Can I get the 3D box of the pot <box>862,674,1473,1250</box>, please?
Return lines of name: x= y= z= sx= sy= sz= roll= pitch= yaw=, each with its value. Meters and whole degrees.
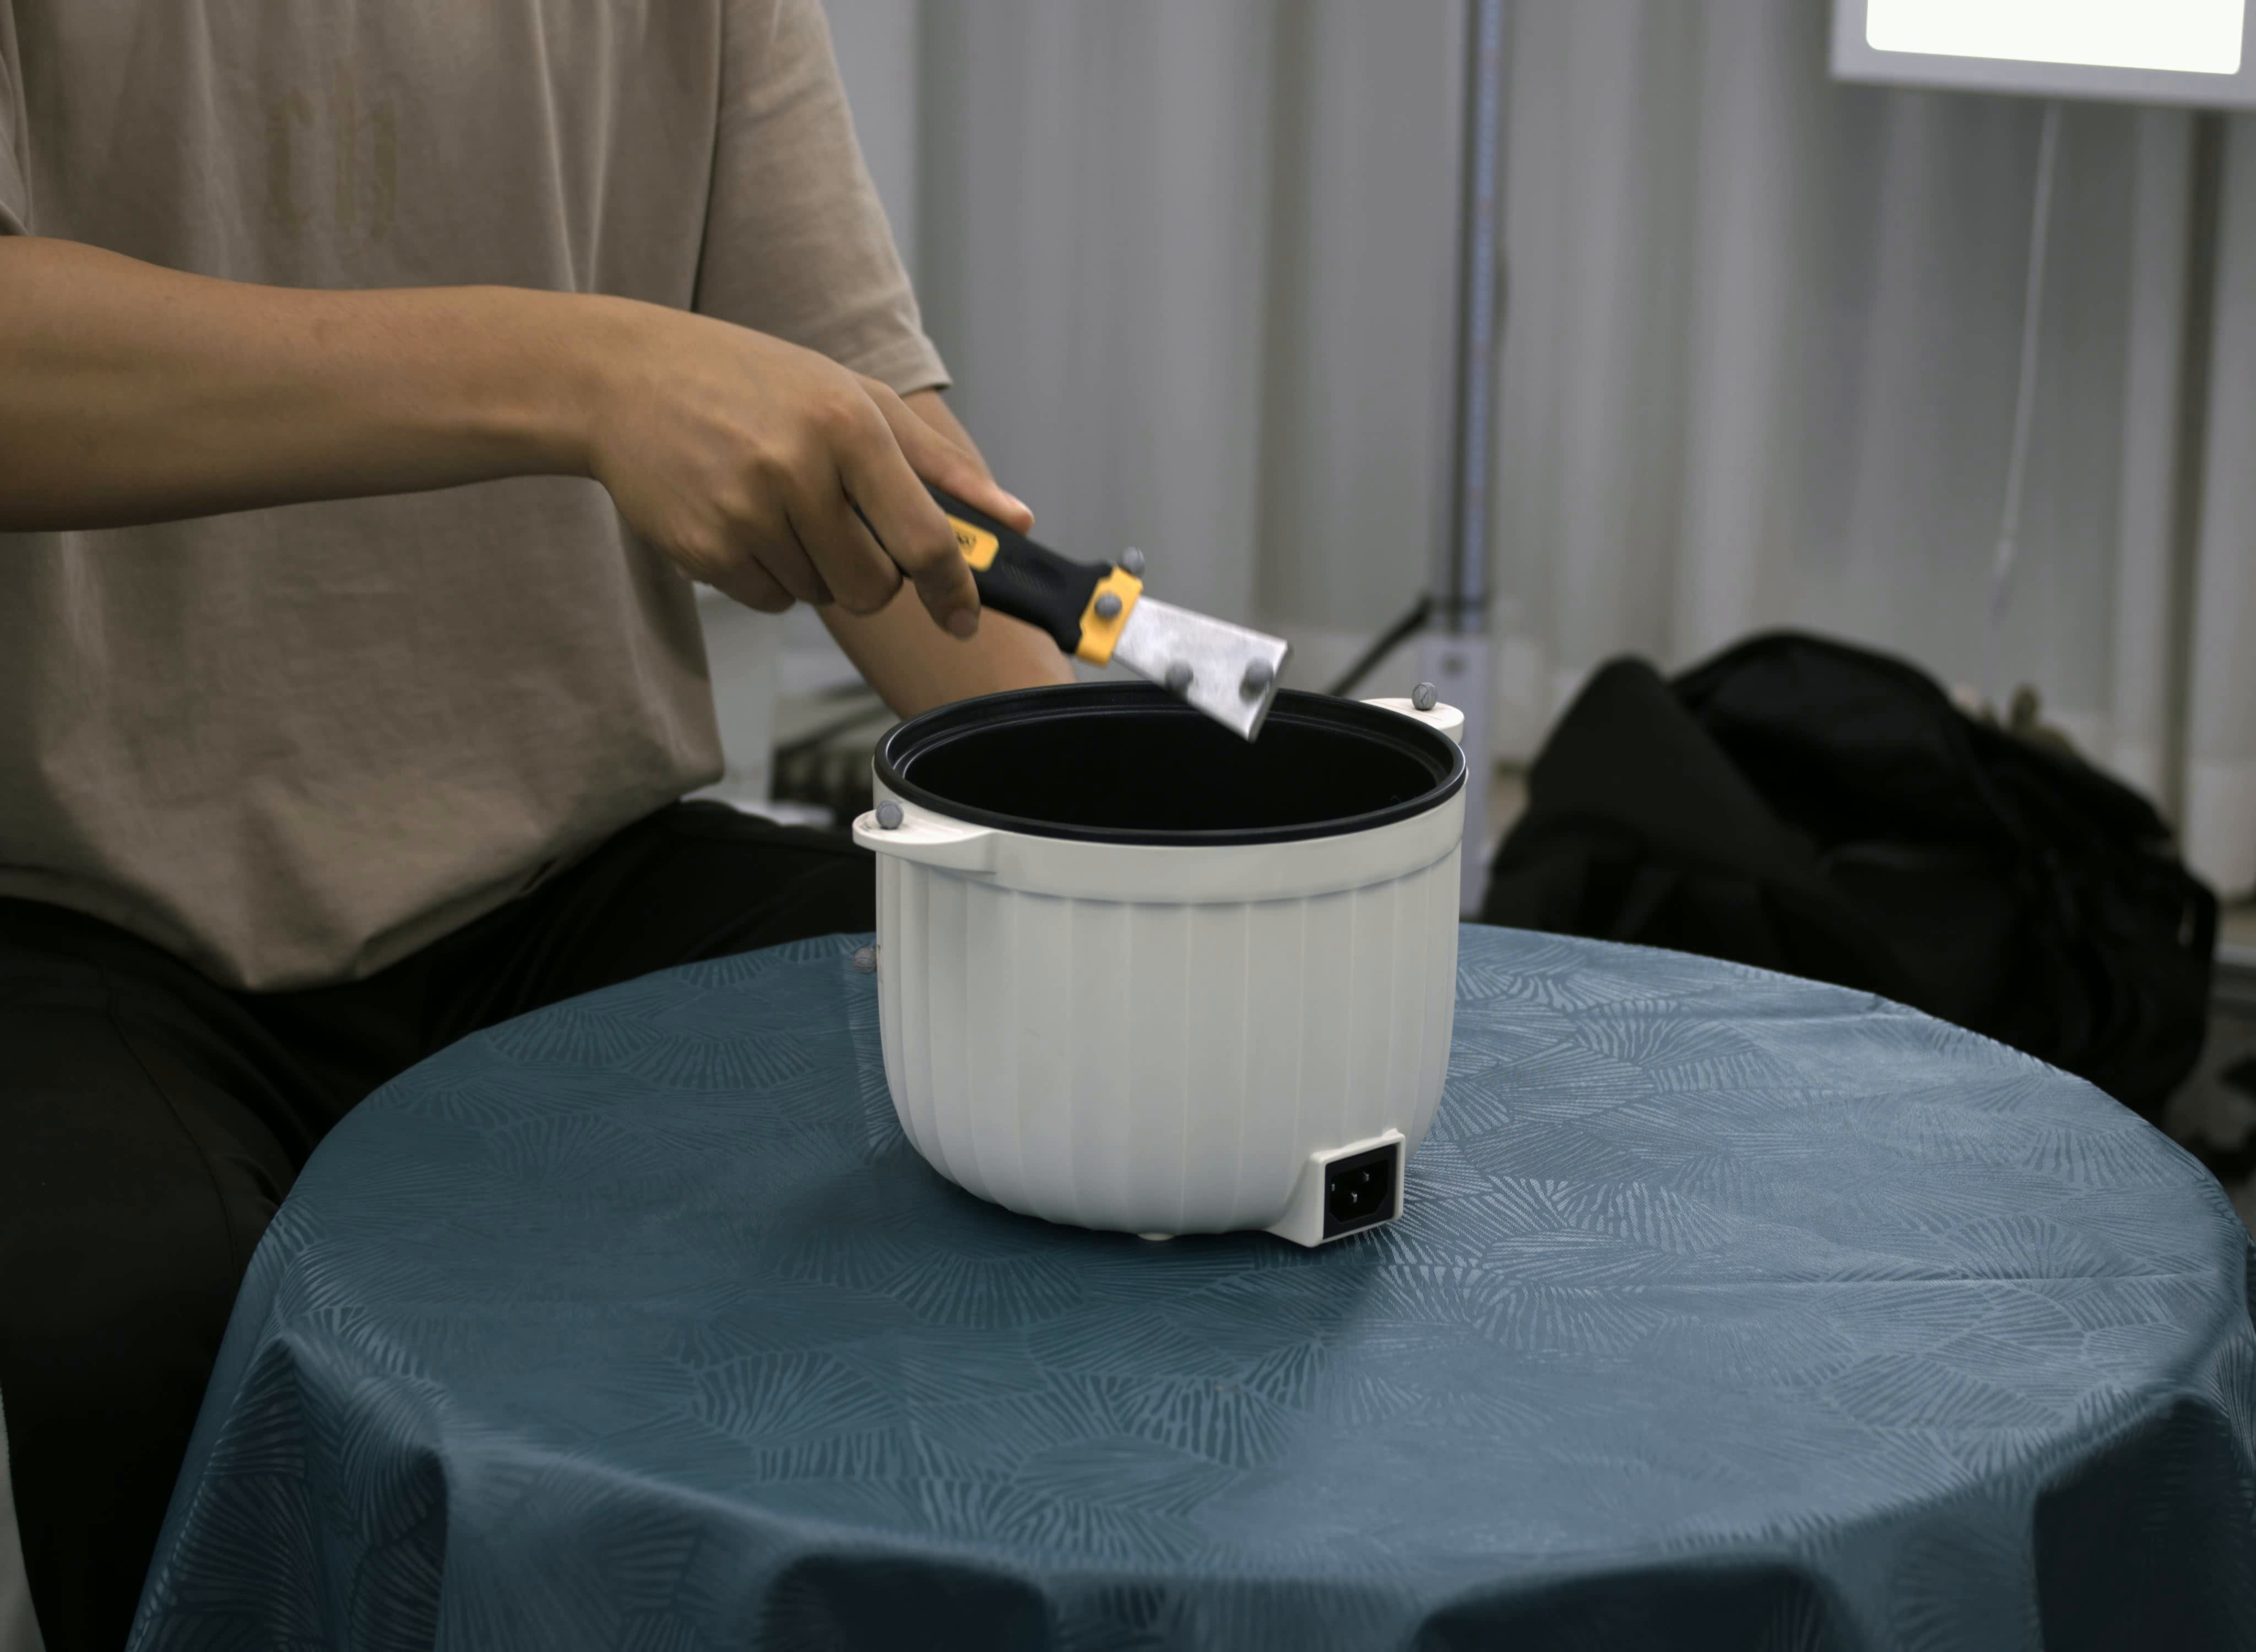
pot: x=0.008 y=0.040 z=1.624 sx=0.241 sy=0.144 sz=0.188 roll=-13 pitch=25 yaw=-42

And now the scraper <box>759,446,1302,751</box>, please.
scraper: x=-0.031 y=-0.070 z=1.582 sx=0.171 sy=0.039 sz=0.015 roll=24 pitch=-19 yaw=-2
